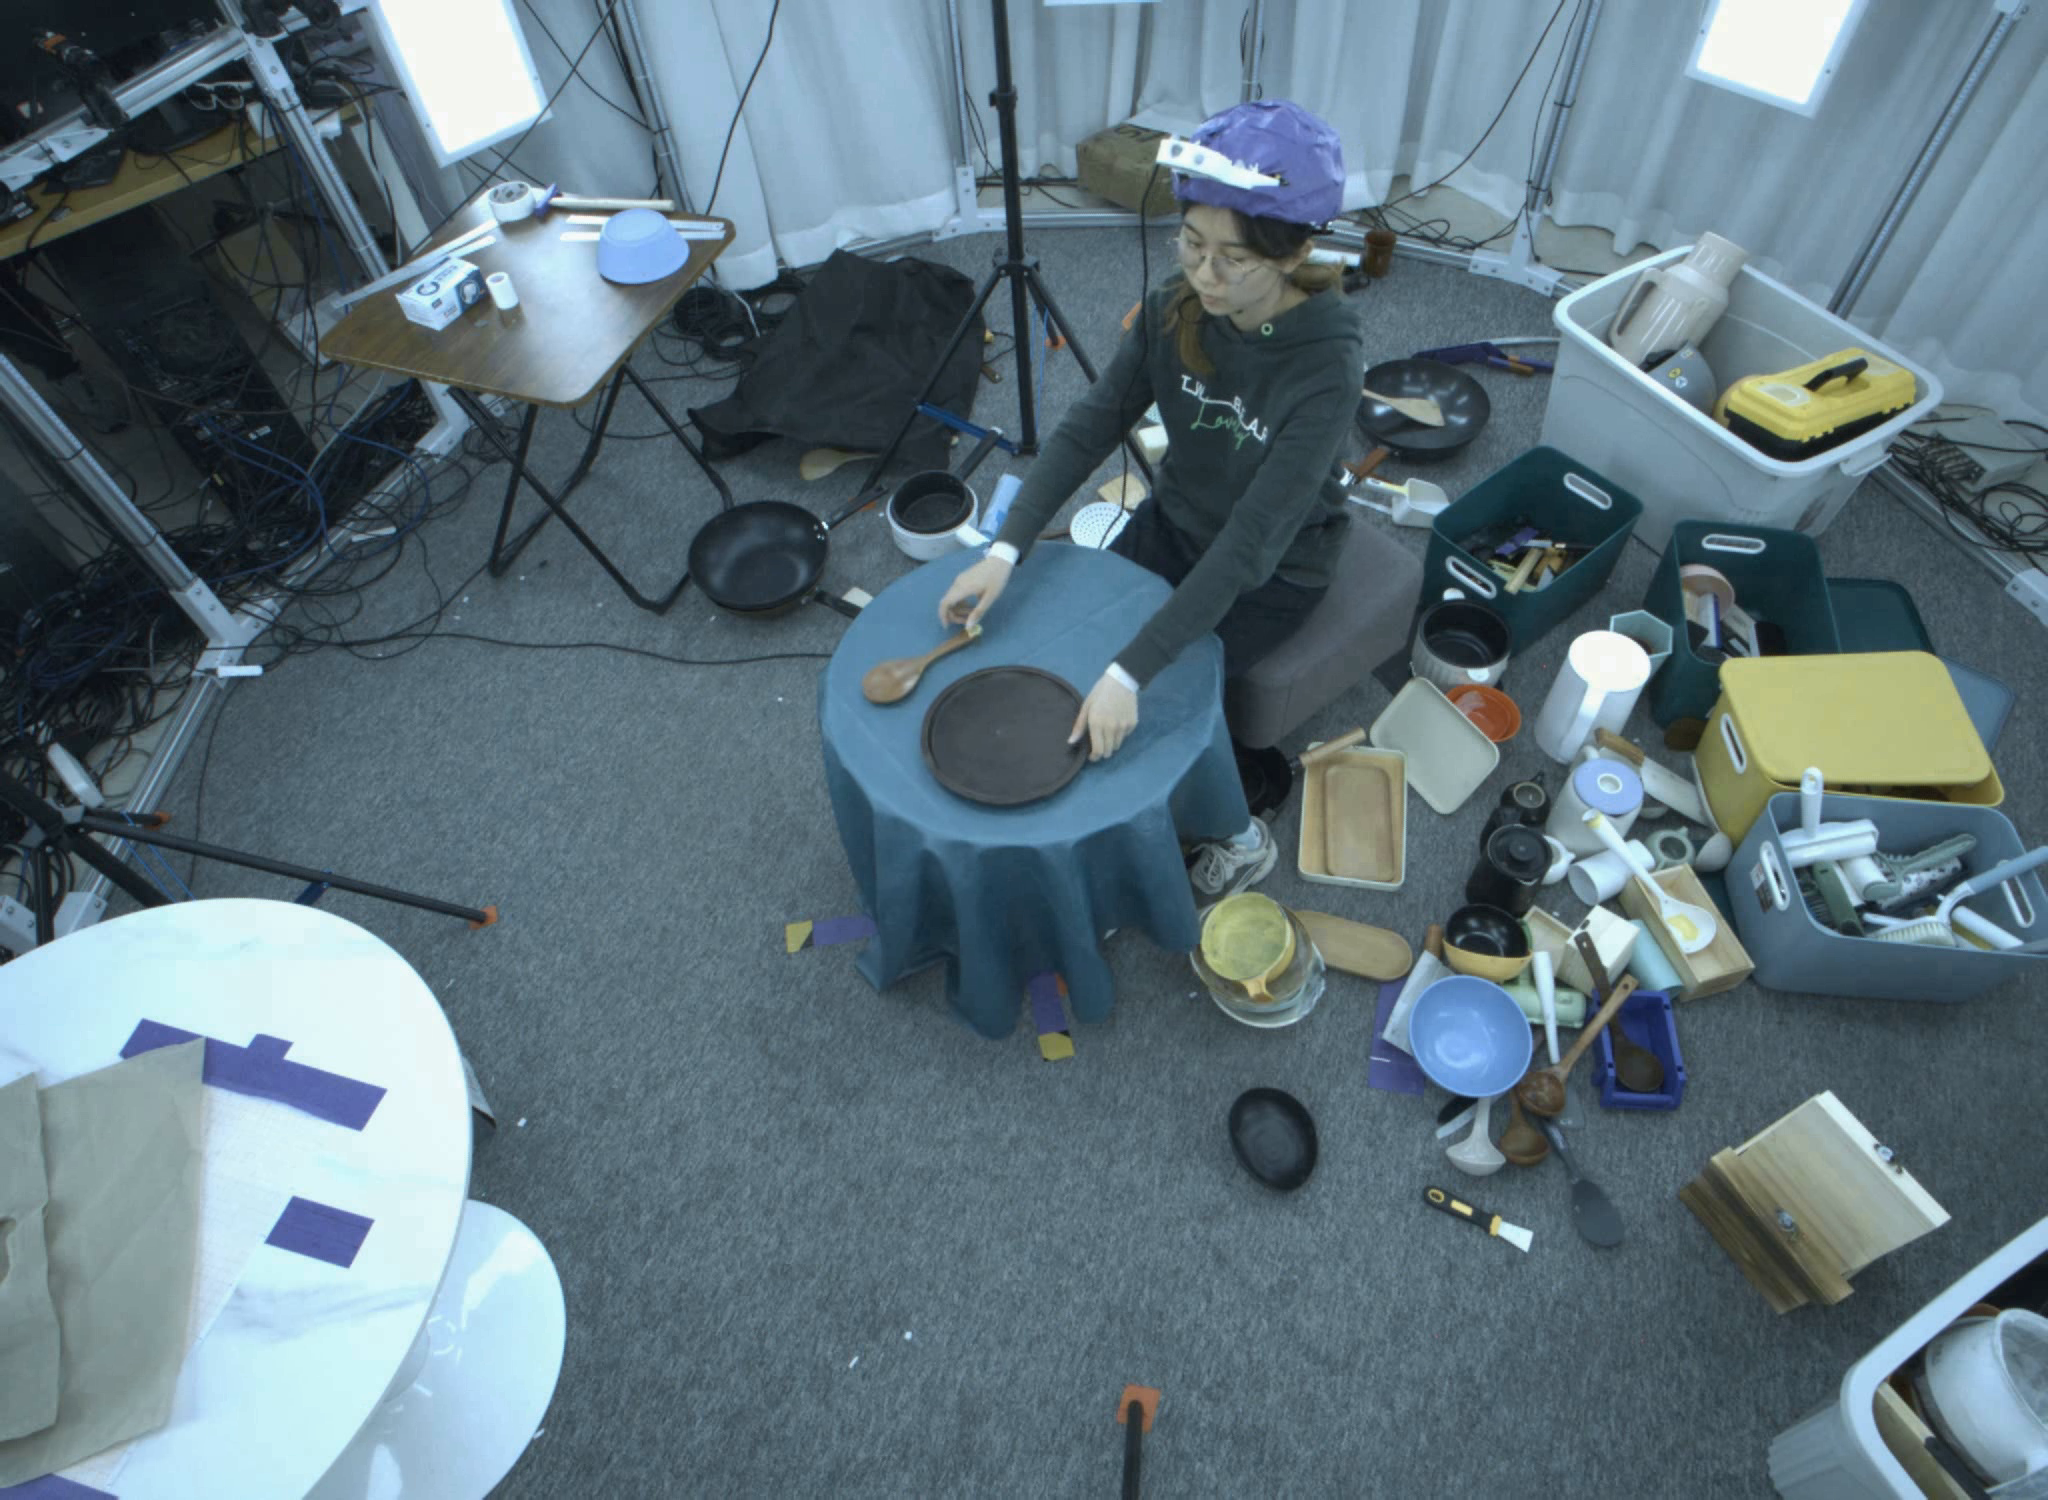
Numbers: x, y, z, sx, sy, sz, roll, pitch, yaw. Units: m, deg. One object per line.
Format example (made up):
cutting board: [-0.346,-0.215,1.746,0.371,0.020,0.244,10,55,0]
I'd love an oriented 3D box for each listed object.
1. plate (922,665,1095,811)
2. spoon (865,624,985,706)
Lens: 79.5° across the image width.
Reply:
plate: [-0.022,-0.017,1.797,0.254,0.029,0.252,0,56,2]
spoon: [-0.149,-0.132,1.884,0.217,0.017,0.074,-35,61,-20]
